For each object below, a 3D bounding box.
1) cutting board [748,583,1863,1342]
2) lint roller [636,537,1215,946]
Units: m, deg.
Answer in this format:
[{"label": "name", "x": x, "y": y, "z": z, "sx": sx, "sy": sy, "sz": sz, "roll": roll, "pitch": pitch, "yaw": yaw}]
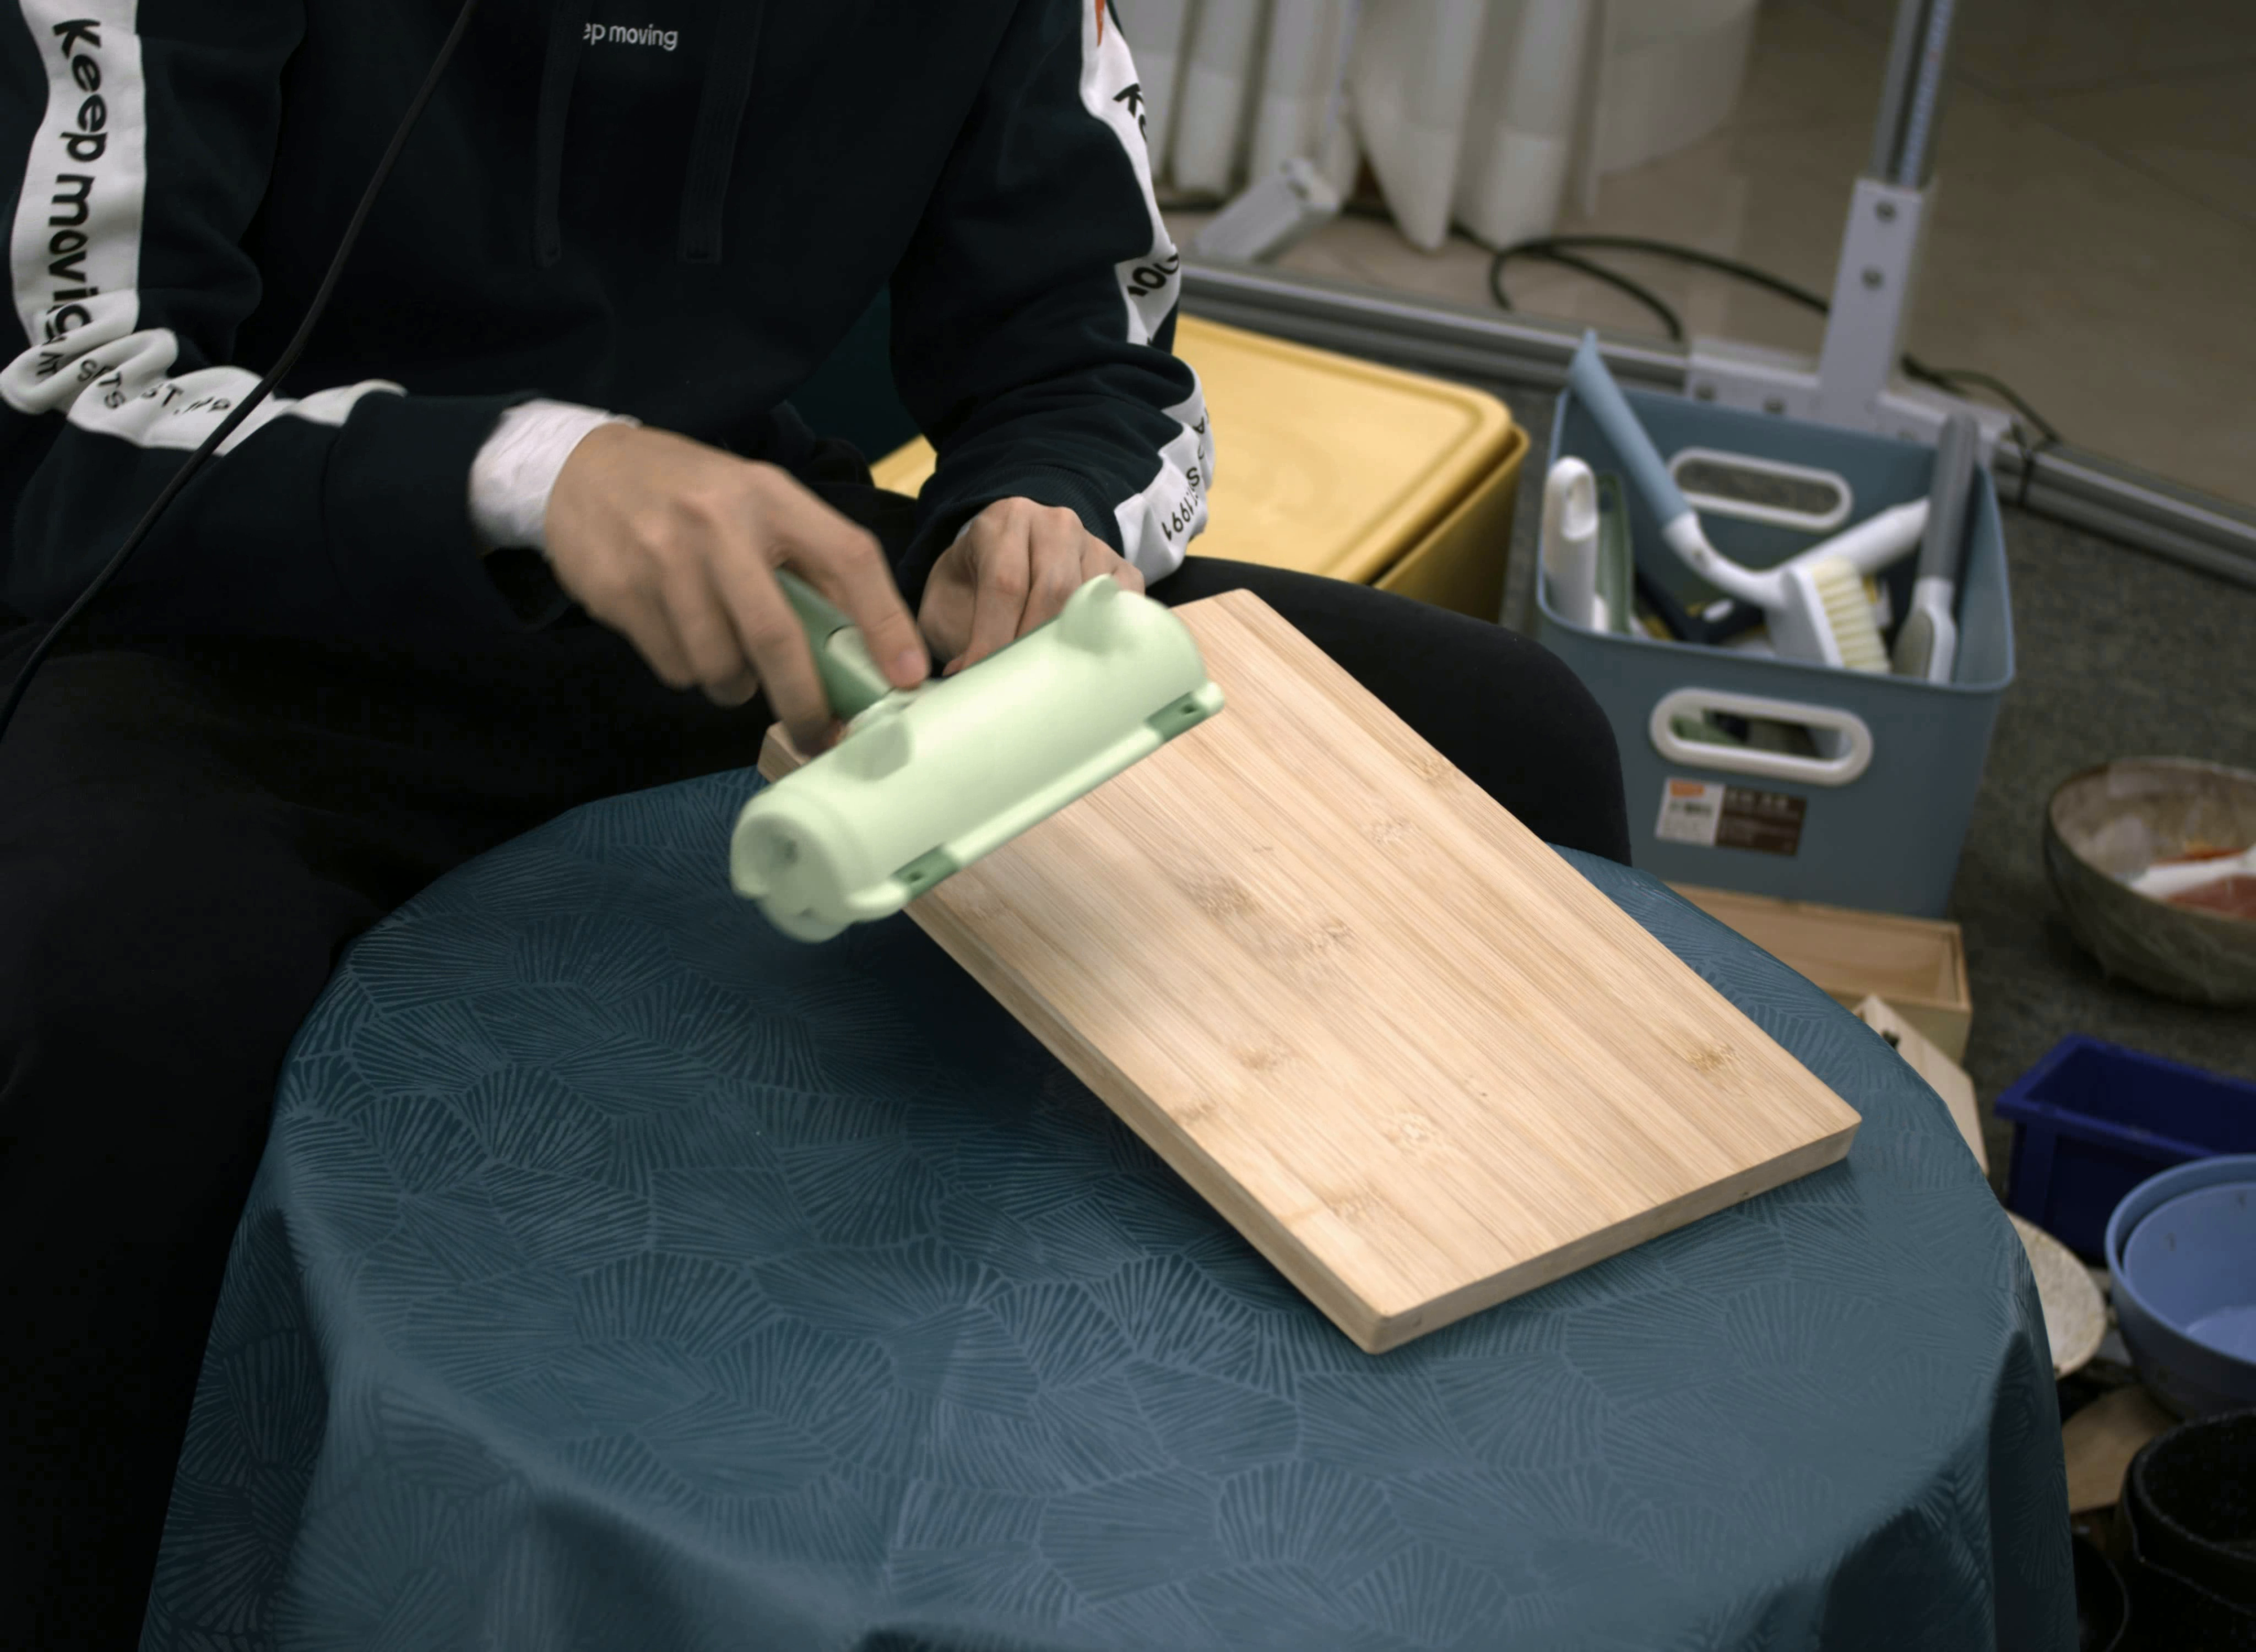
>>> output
[{"label": "cutting board", "x": 0.060, "y": 0.039, "z": 1.886, "sx": 0.249, "sy": 0.023, "sz": 0.351, "roll": -18, "pitch": 47, "yaw": -39}, {"label": "lint roller", "x": -0.092, "y": -0.060, "z": 1.793, "sx": 0.184, "sy": 0.082, "sz": 0.198, "roll": 40, "pitch": 45, "yaw": 19}]
